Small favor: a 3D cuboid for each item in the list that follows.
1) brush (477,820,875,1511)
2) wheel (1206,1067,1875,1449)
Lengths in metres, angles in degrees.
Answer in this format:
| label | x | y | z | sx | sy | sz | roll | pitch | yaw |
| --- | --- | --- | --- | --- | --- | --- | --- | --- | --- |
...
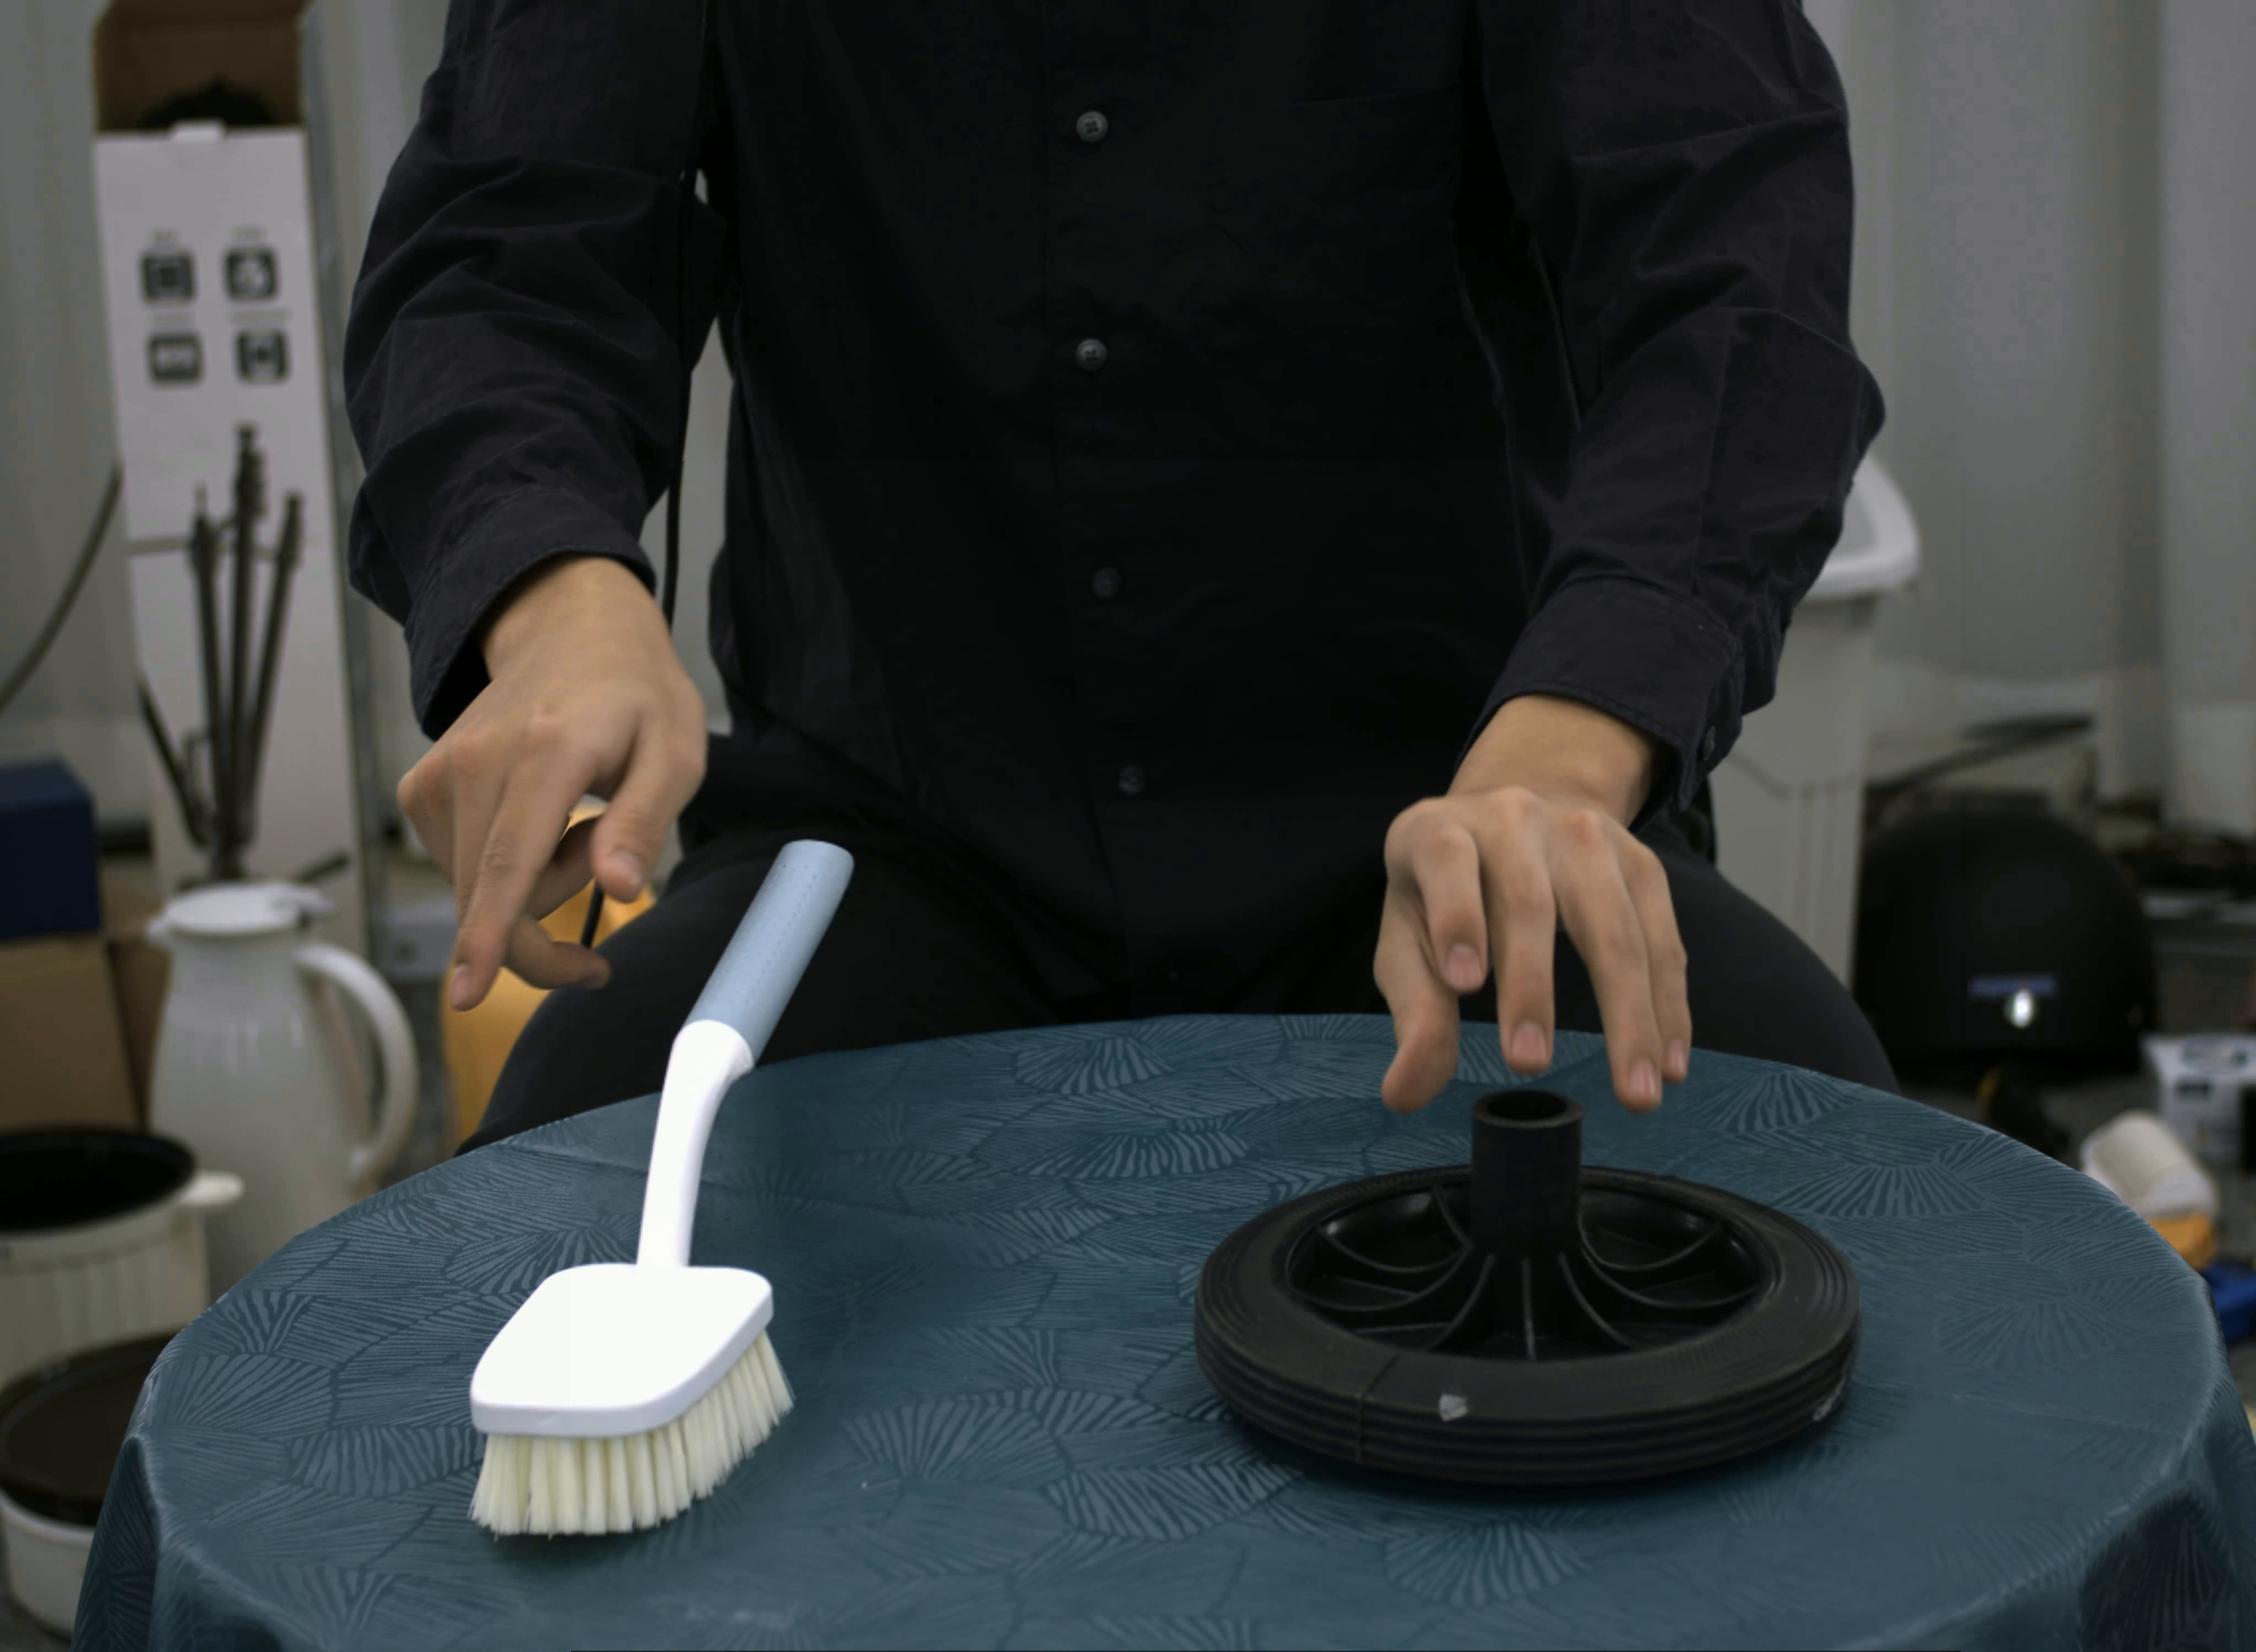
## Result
| label | x | y | z | sx | sy | sz | roll | pitch | yaw |
| --- | --- | --- | --- | --- | --- | --- | --- | --- | --- |
| brush | -0.116 | 0.110 | 1.594 | 0.083 | 0.084 | 0.328 | 33 | 30 | -5 |
| wheel | 0.116 | 0.110 | 1.547 | 0.189 | 0.079 | 0.189 | -2 | 18 | 1 |
